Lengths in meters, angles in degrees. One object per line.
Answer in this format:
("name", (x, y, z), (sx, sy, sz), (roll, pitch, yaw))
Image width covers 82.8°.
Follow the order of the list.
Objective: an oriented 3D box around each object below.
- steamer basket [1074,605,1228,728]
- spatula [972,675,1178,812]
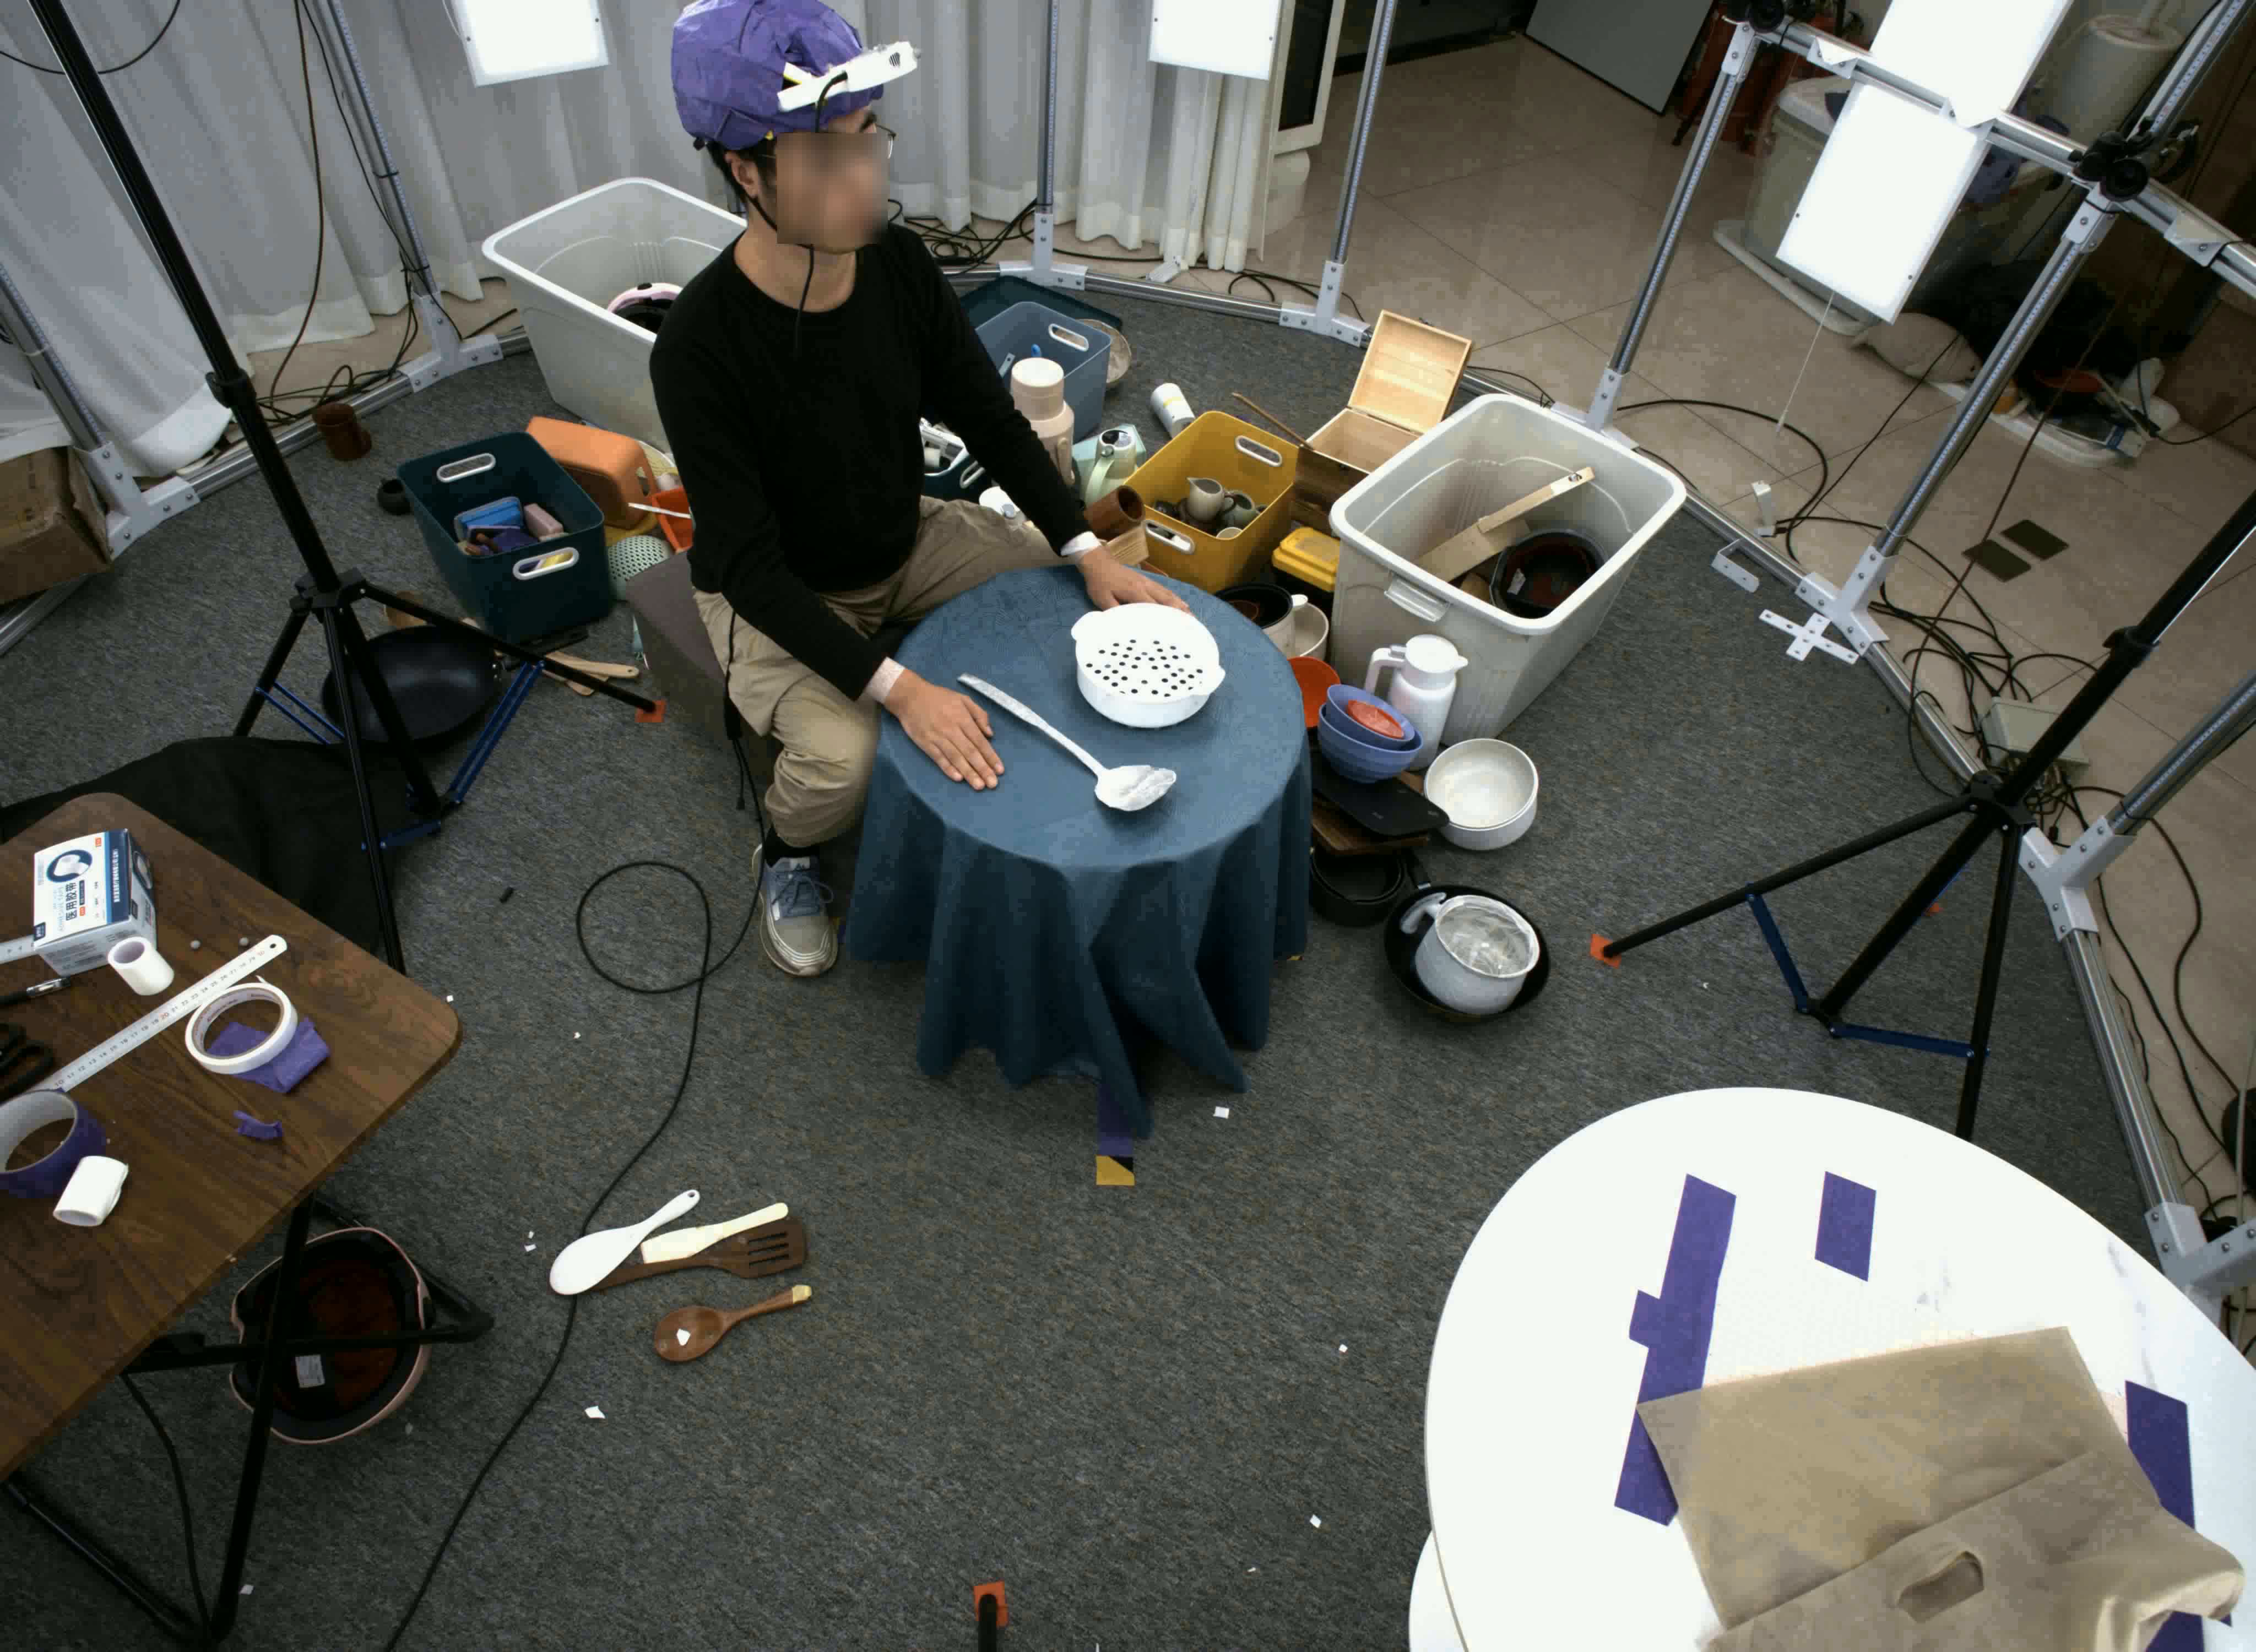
("steamer basket", (0.030, -0.225, 1.822), (0.232, 0.067, 0.205), (26, 52, 19))
("spatula", (-0.091, -0.125, 1.748), (0.370, 0.044, 0.100), (36, 58, 25))
